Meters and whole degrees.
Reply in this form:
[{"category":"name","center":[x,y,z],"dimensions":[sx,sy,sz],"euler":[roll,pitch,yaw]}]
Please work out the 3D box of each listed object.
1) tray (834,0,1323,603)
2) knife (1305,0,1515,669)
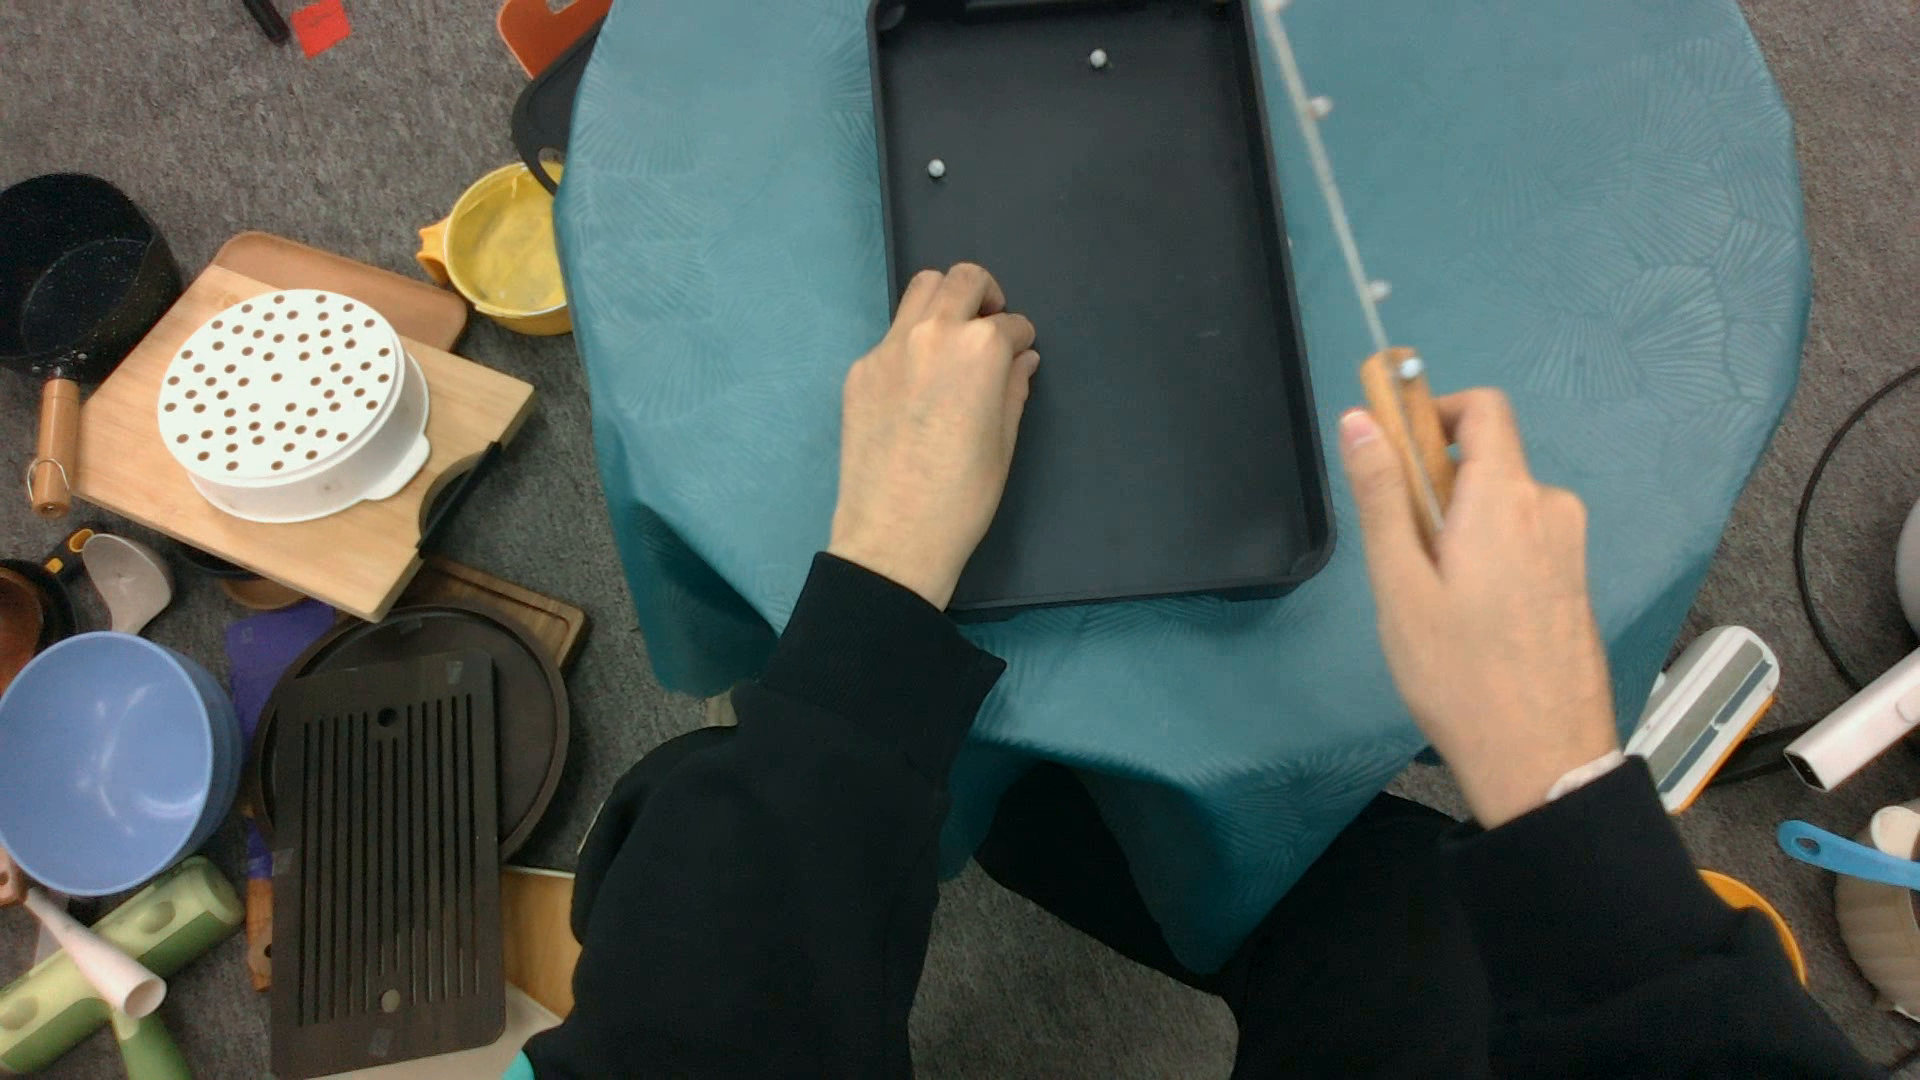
[{"category":"tray","center":[0.047,-0.133,0.639],"dimensions":[0.184,0.037,0.318],"euler":[-7,73,-2]},{"category":"knife","center":[0.164,-0.102,0.529],"dimensions":[0.021,0.093,0.306],"euler":[-15,81,21]}]
